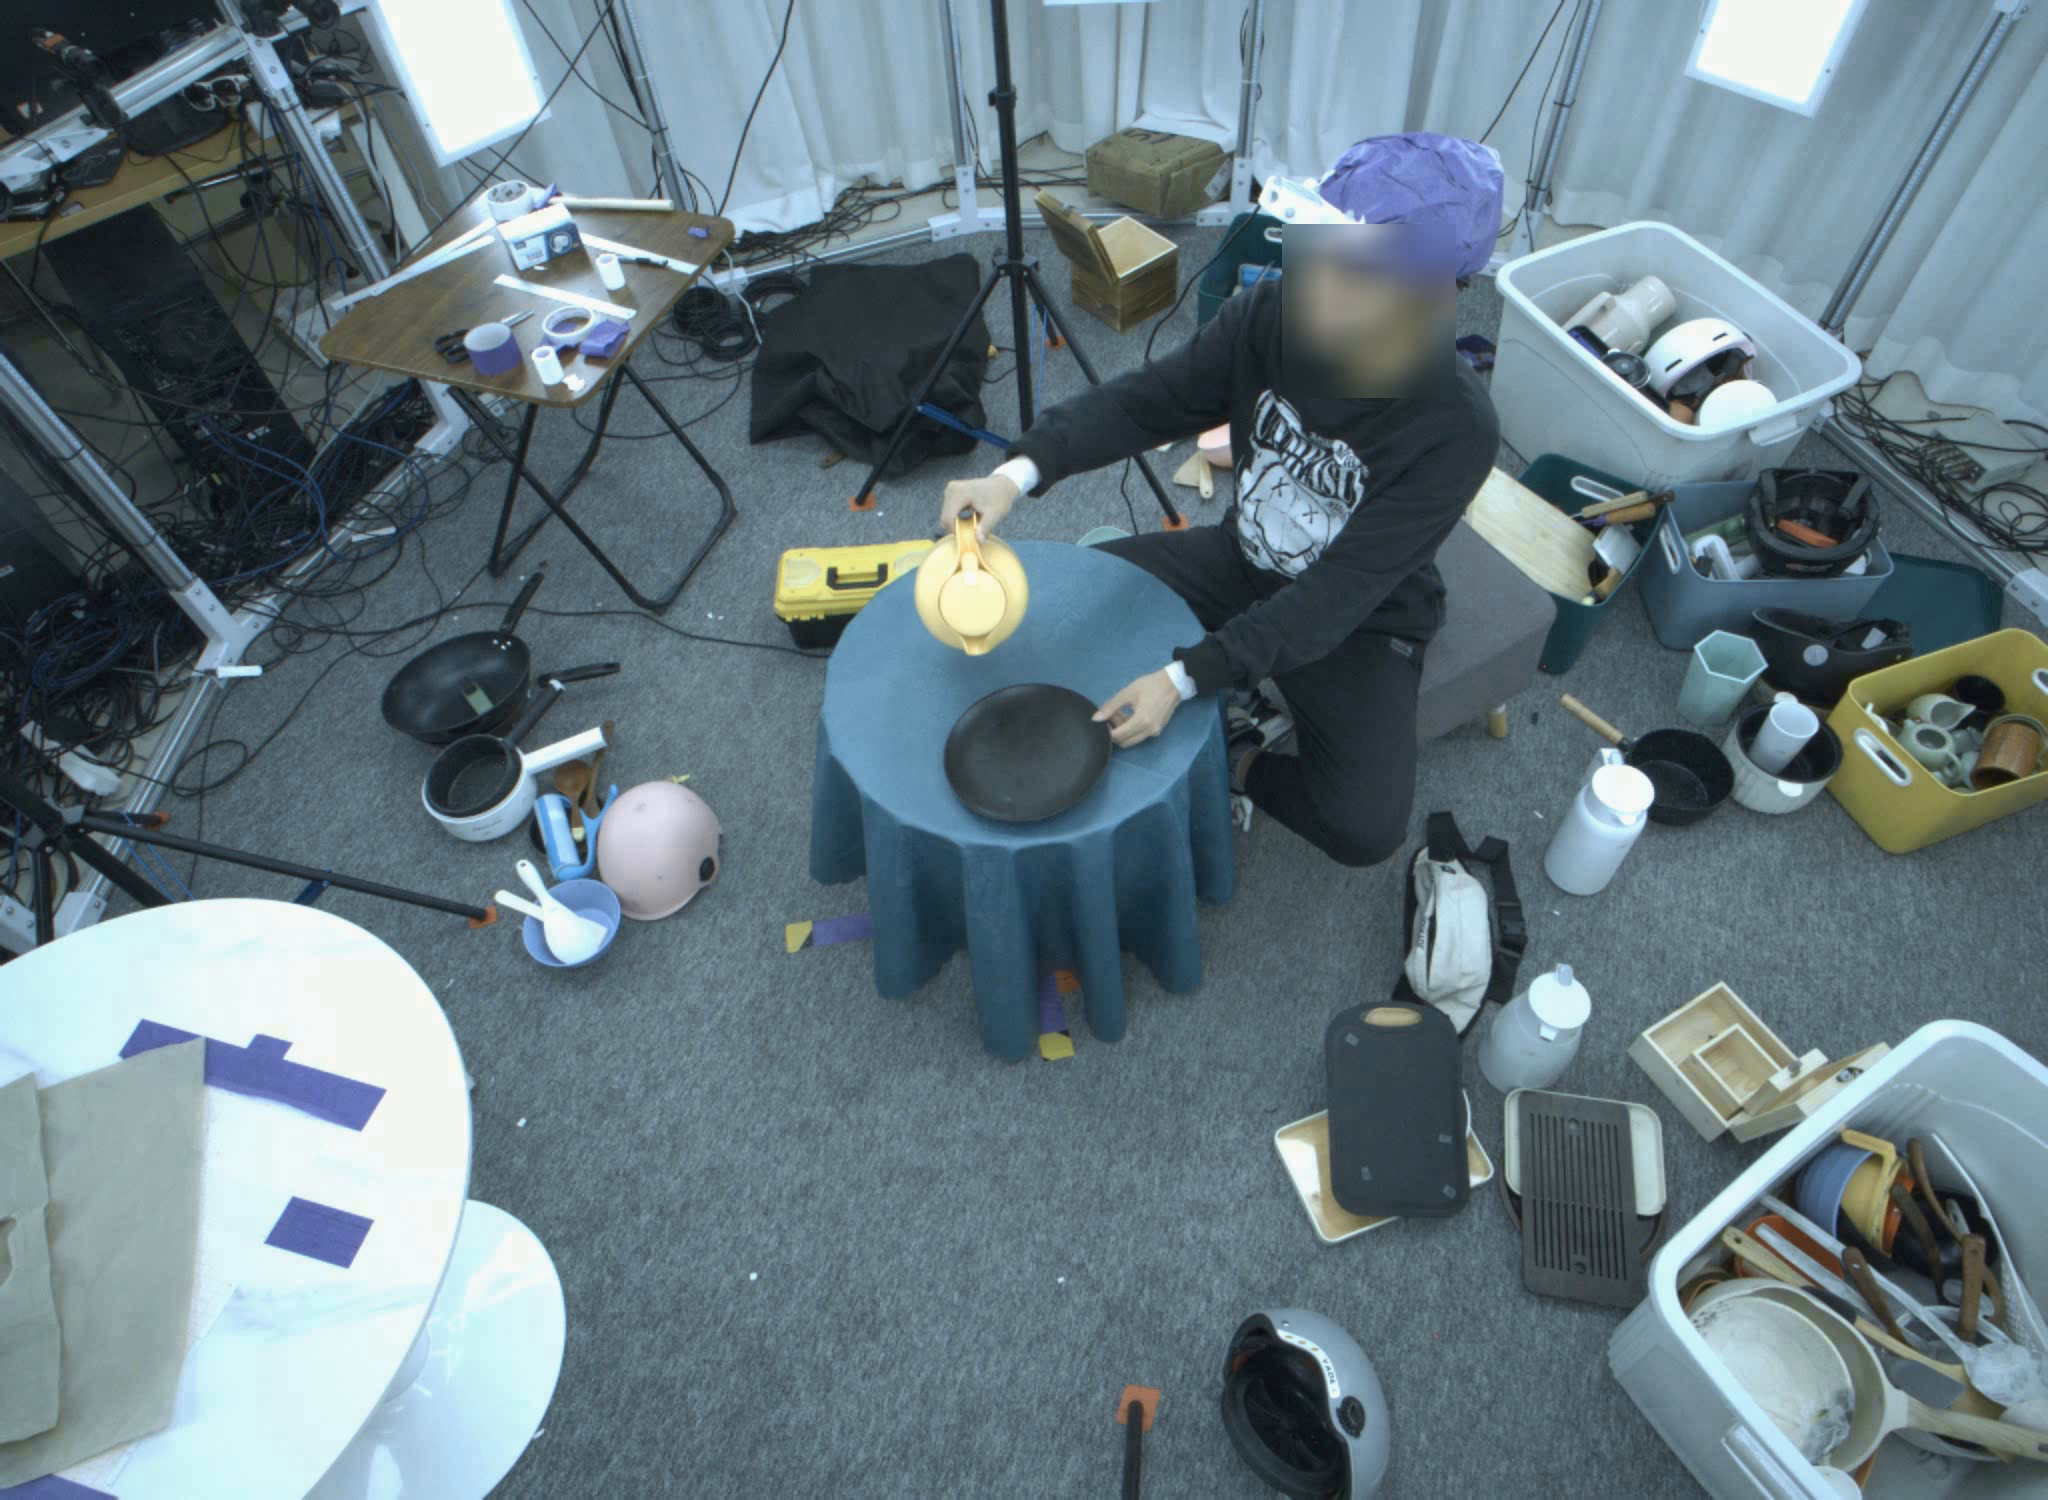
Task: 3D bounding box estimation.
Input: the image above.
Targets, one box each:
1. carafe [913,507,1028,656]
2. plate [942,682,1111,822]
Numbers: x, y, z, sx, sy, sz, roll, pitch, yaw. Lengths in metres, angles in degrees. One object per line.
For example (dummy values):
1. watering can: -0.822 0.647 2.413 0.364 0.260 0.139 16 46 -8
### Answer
1. carafe: -0.075 -0.240 1.721 0.164 0.203 0.258 -3 15 -5
2. plate: 0.004 0.003 1.756 0.243 0.024 0.242 -3 55 6
